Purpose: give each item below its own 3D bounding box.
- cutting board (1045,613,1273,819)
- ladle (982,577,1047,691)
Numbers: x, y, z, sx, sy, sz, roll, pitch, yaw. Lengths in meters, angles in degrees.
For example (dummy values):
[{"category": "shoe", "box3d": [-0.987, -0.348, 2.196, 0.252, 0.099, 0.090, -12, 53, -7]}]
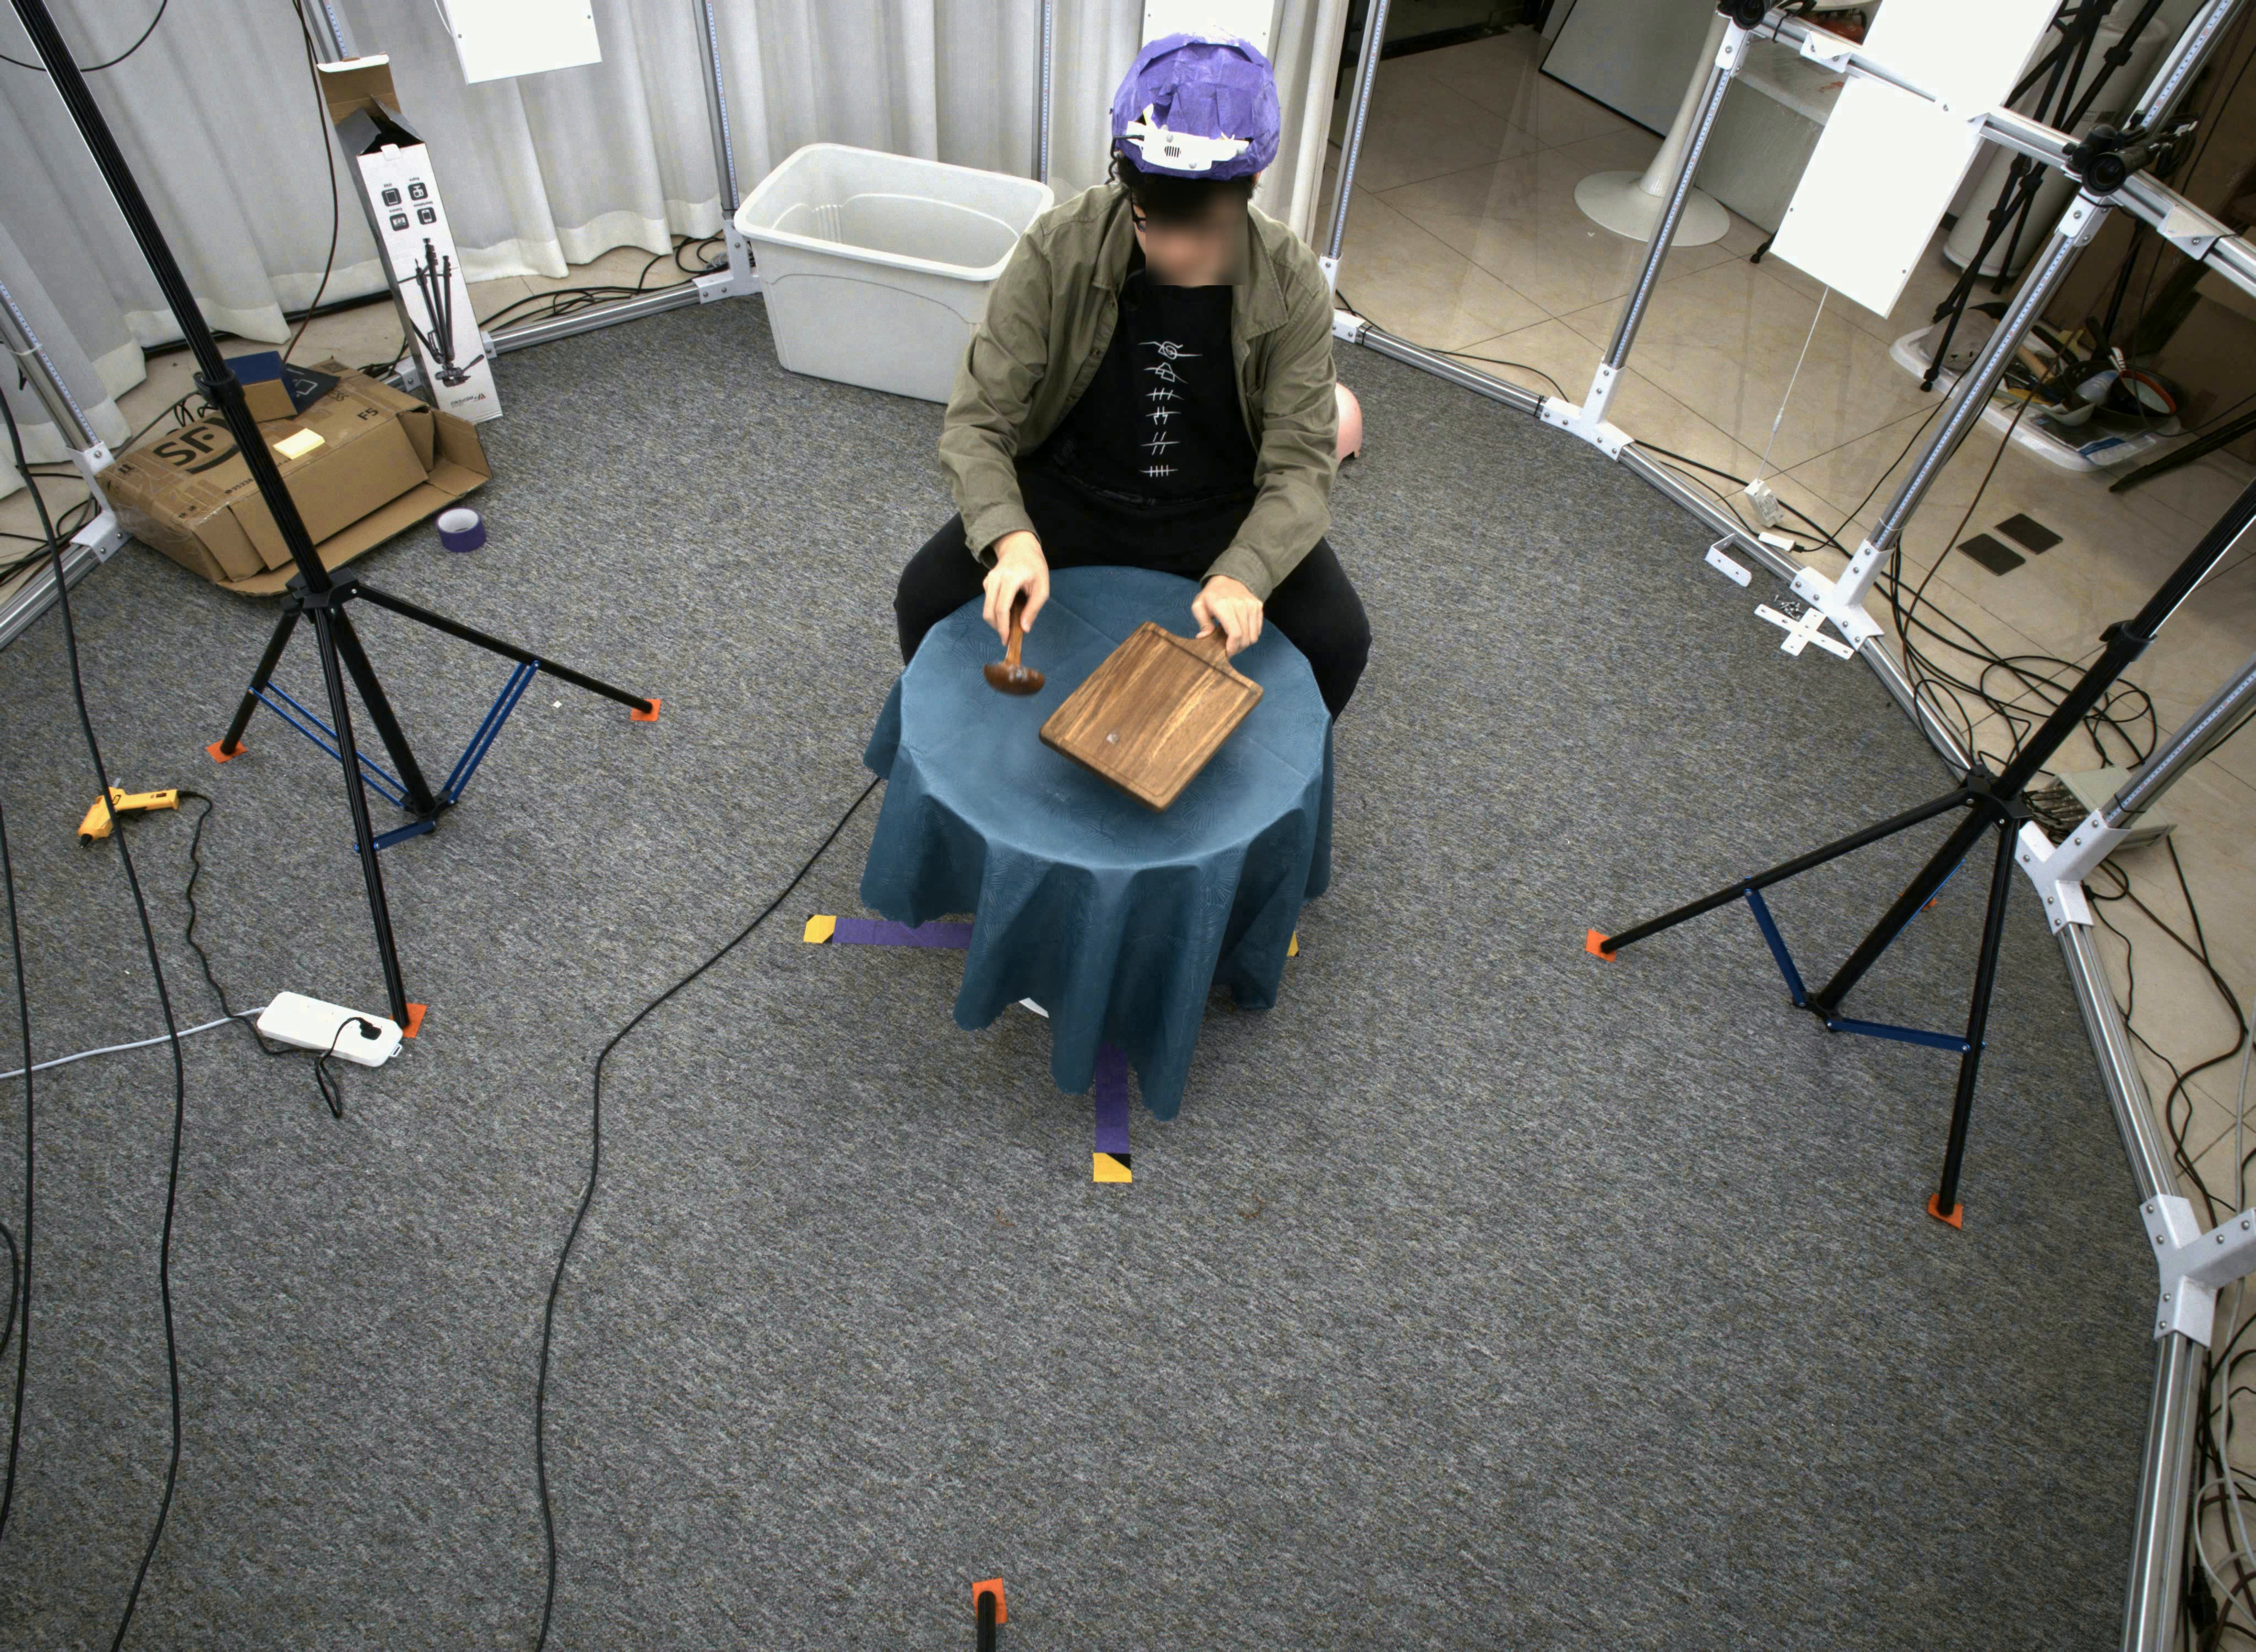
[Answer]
[{"category": "cutting board", "box3d": [0.072, -0.173, 1.691, 0.203, 0.023, 0.357, 33, 58, 17]}, {"category": "ladle", "box3d": [-0.144, -0.271, 1.698, 0.081, 0.075, 0.281, 16, 42, -15]}]
